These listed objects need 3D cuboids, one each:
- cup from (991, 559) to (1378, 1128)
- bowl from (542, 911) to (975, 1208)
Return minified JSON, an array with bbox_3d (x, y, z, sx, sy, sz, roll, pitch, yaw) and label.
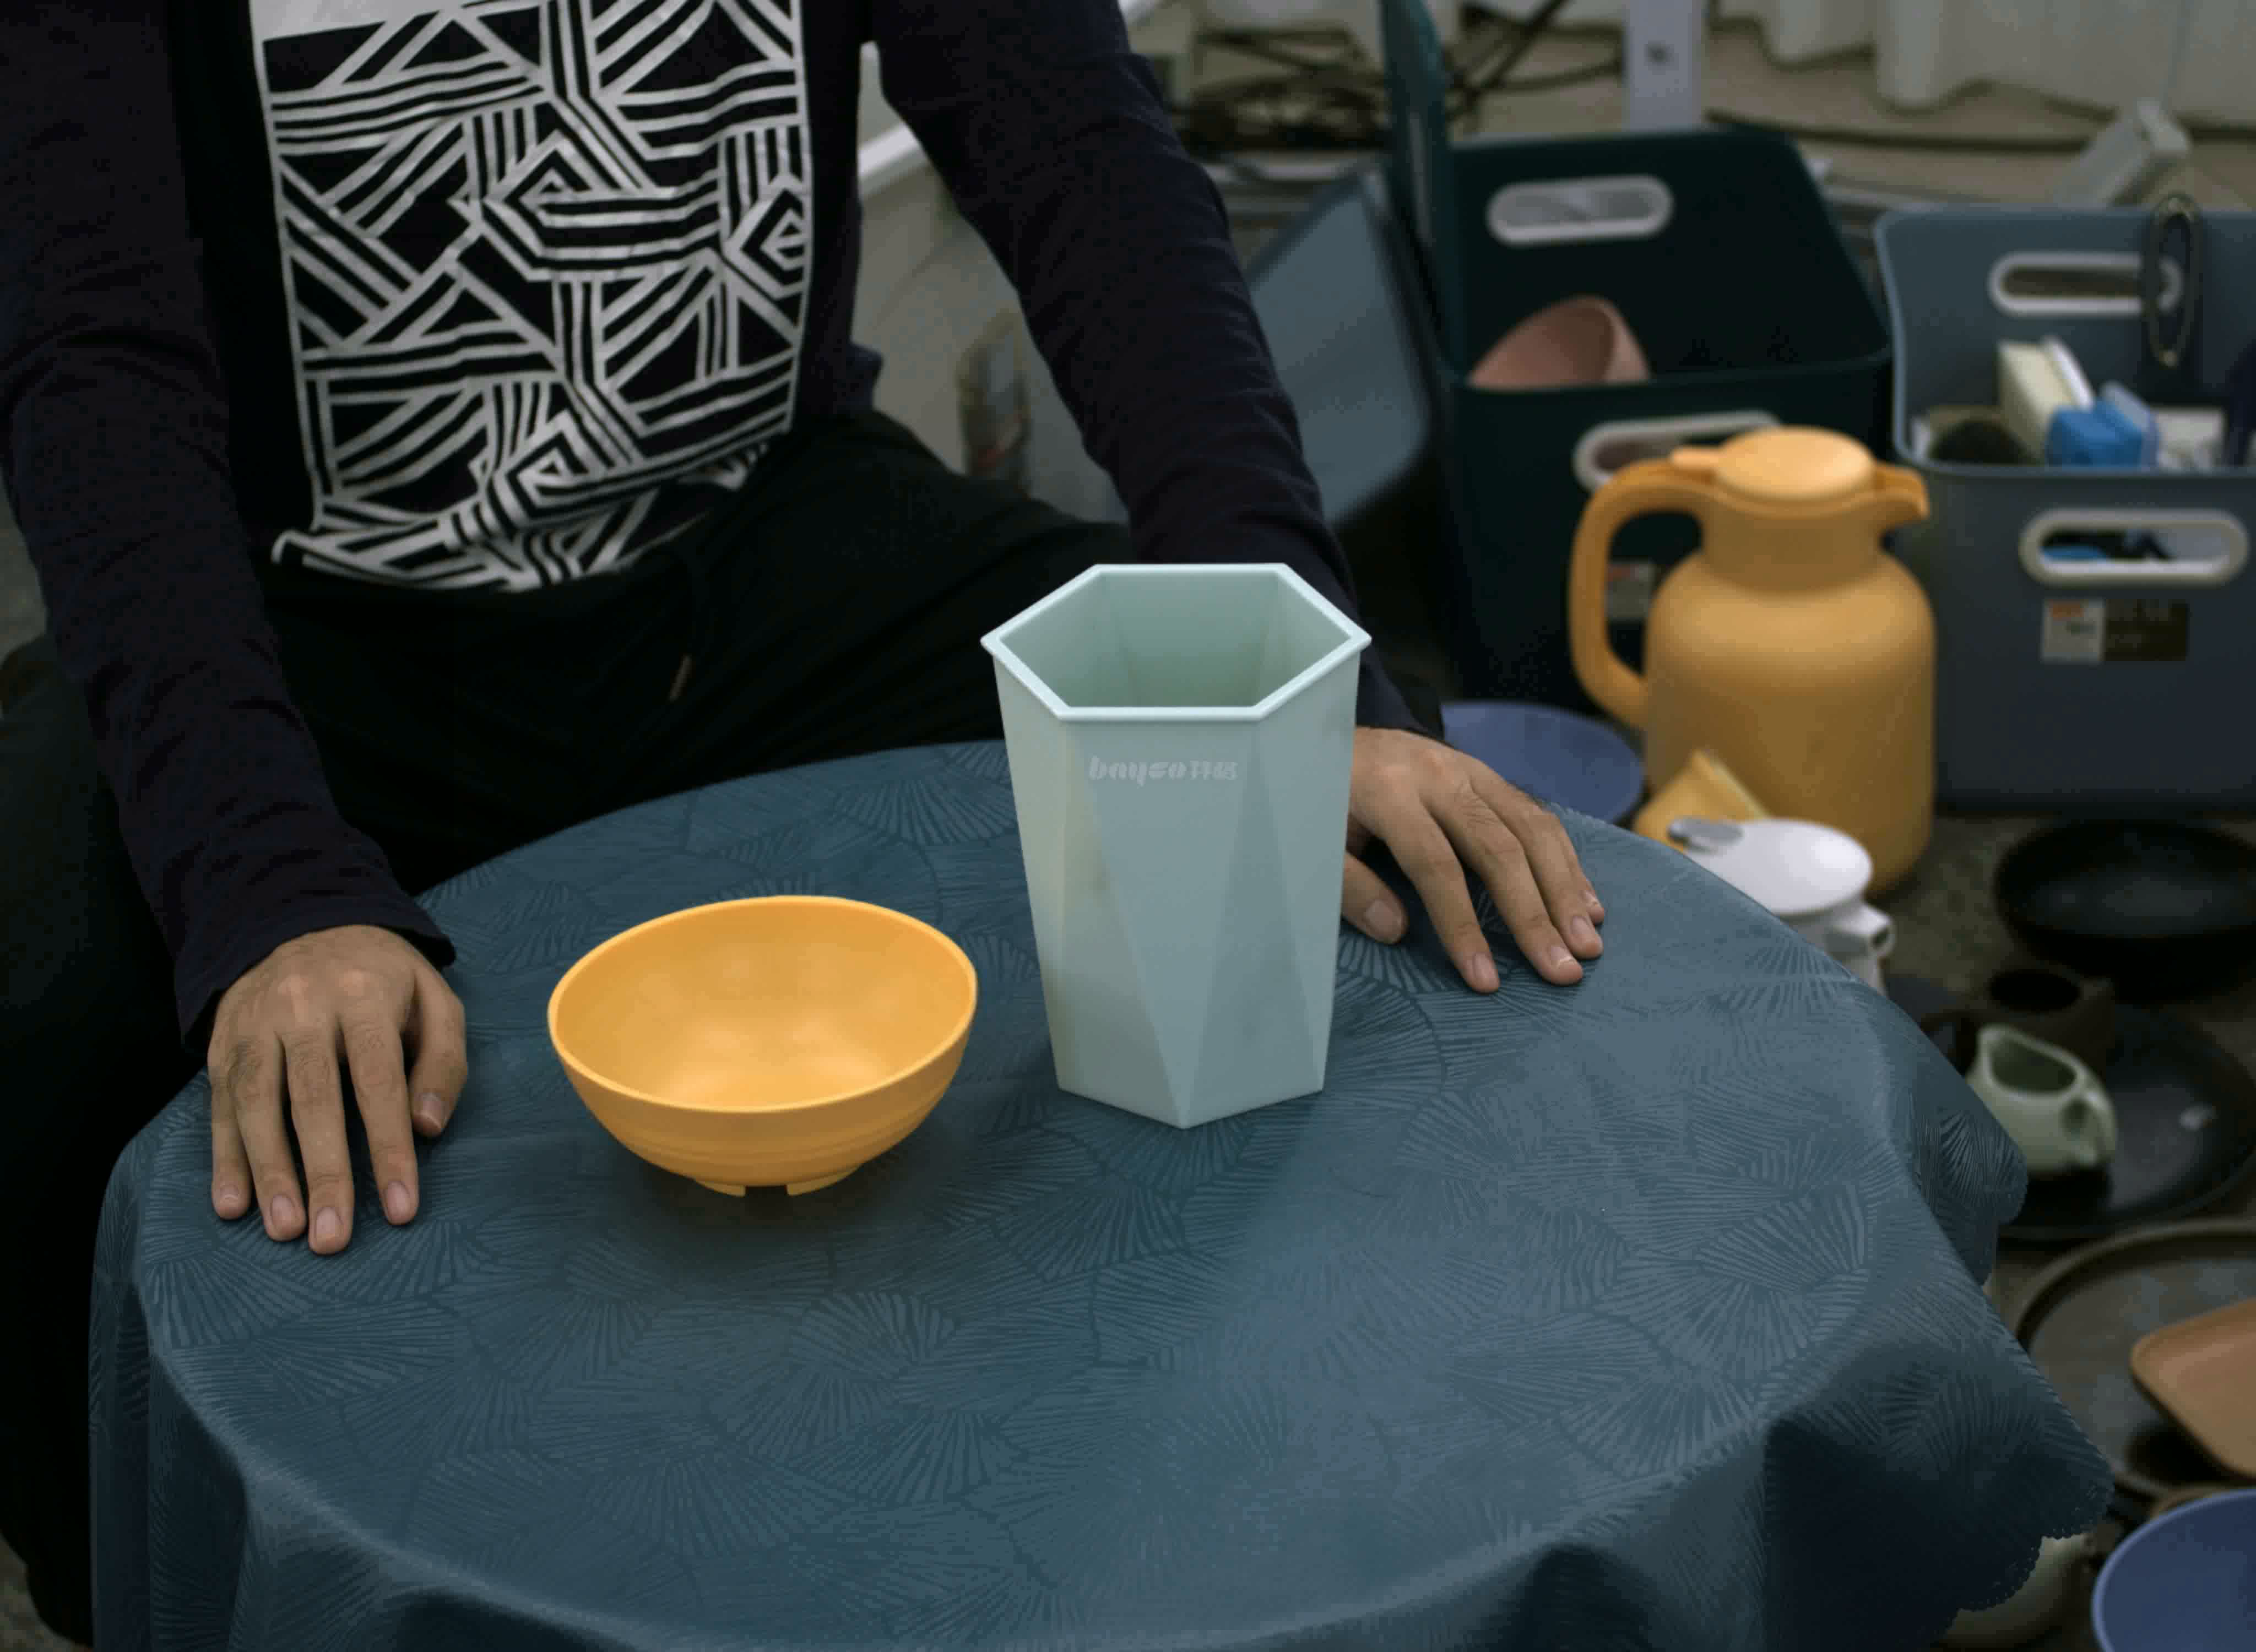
[{"bbox_3d":[0.022,0.007,1.904,0.130,0.161,0.117,0,25,4],"label":"cup"},{"bbox_3d":[-0.122,0.087,1.882,0.144,0.059,0.147,-2,25,1],"label":"bowl"}]
